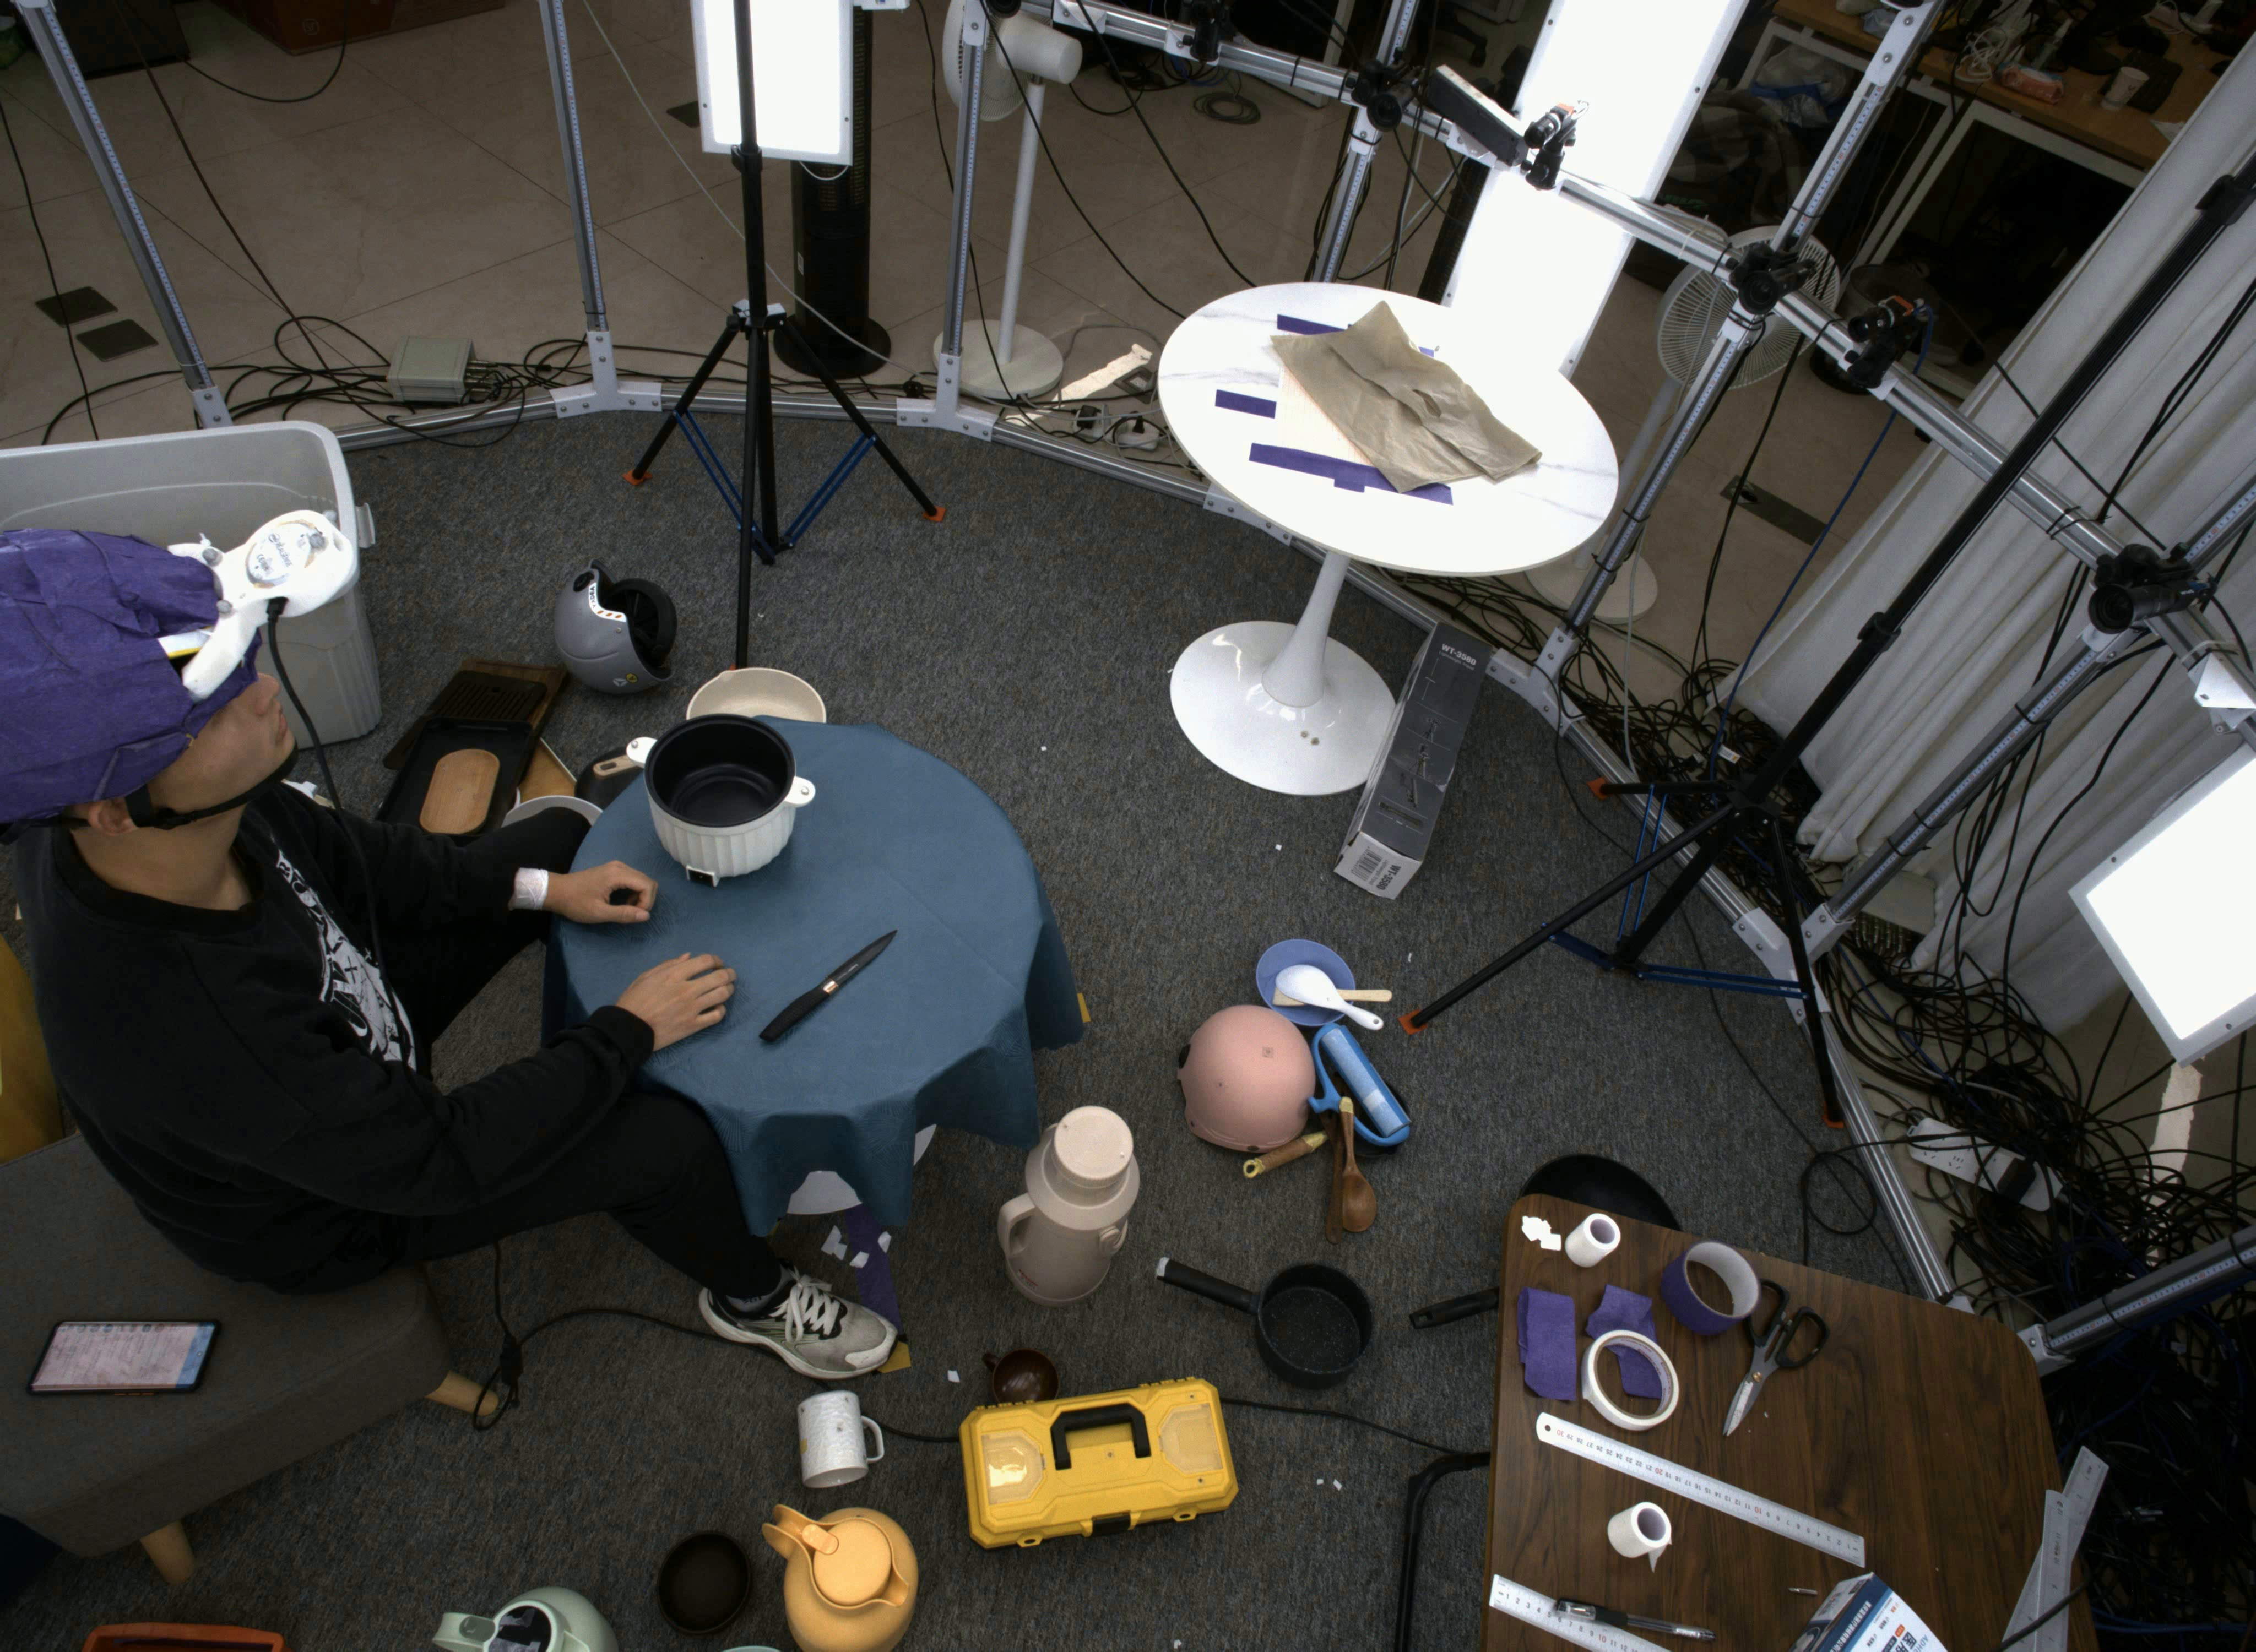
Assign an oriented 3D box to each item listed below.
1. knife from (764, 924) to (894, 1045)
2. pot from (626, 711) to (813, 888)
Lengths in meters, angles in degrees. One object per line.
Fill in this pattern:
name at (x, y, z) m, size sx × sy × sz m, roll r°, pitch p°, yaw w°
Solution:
knife at (-0.361, 0.188, 1.591) m, size 0.025 × 0.018 × 0.225 m, roll 25°, pitch 48°, yaw 27°
pot at (-0.513, -0.037, 1.636) m, size 0.239 × 0.145 × 0.188 m, roll 15°, pitch 54°, yaw -4°
